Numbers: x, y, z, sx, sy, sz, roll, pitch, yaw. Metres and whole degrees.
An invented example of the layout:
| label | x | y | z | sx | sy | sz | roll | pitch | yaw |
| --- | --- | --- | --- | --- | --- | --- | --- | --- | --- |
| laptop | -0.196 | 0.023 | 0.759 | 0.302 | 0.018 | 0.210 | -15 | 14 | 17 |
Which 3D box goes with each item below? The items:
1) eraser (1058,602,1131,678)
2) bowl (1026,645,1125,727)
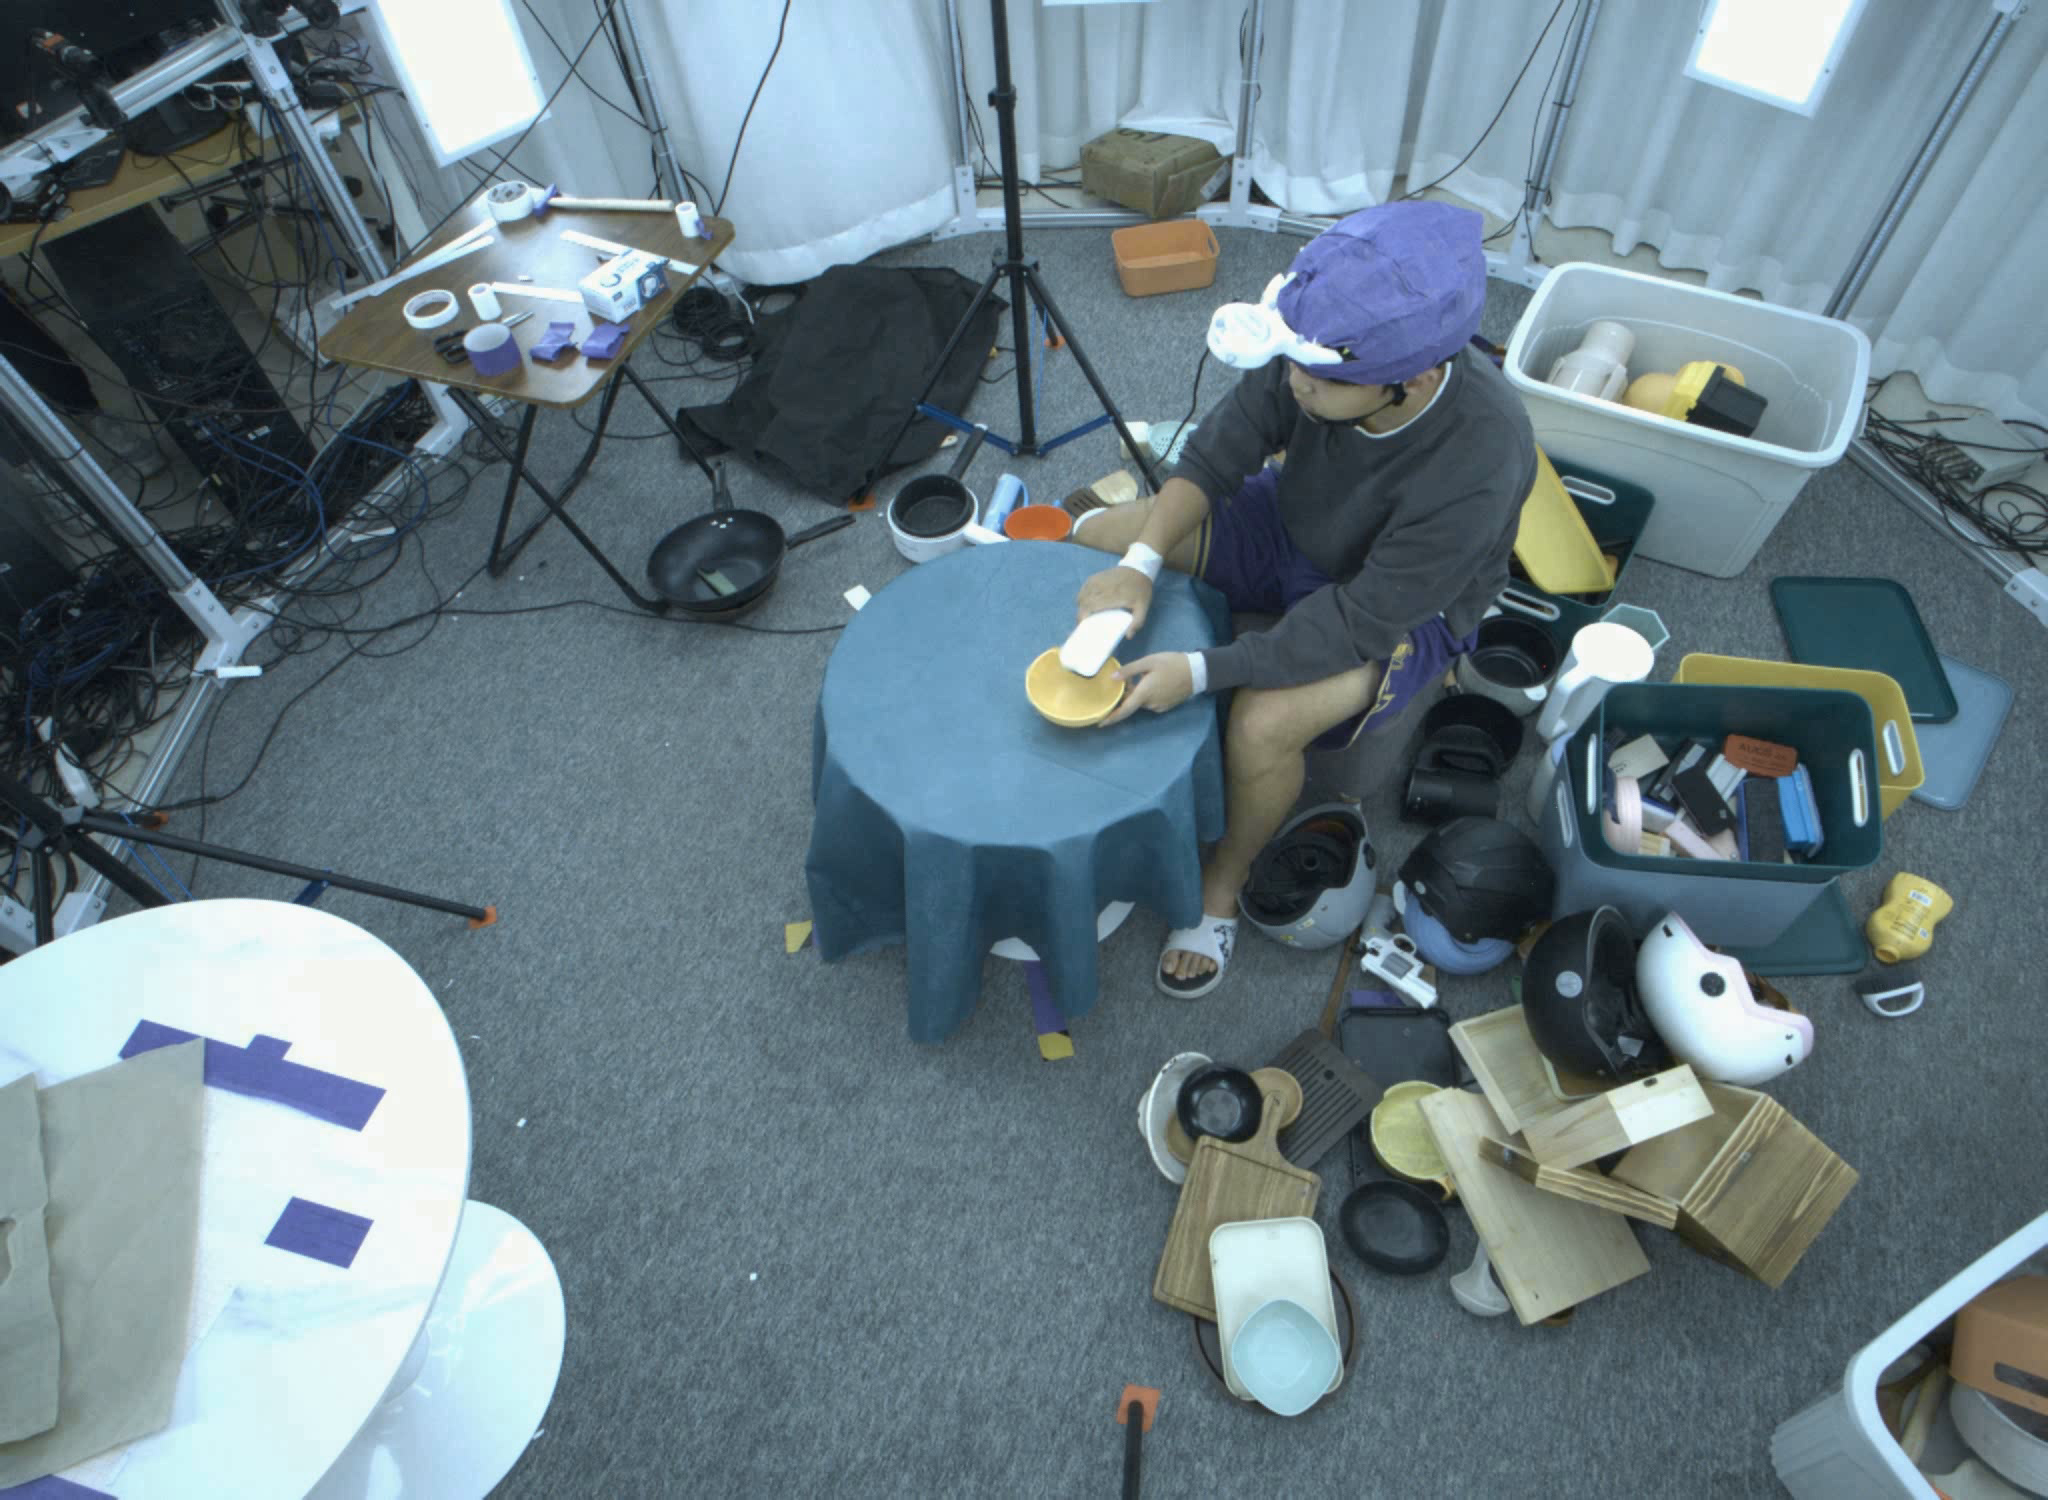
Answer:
| label | x | y | z | sx | sy | sz | roll | pitch | yaw |
| --- | --- | --- | --- | --- | --- | --- | --- | --- | --- |
| eraser | 0.105 | -0.163 | 1.812 | 0.062 | 0.035 | 0.132 | 27 | 60 | 19 |
| bowl | 0.075 | -0.084 | 1.812 | 0.145 | 0.060 | 0.144 | 1 | 53 | 0 |
